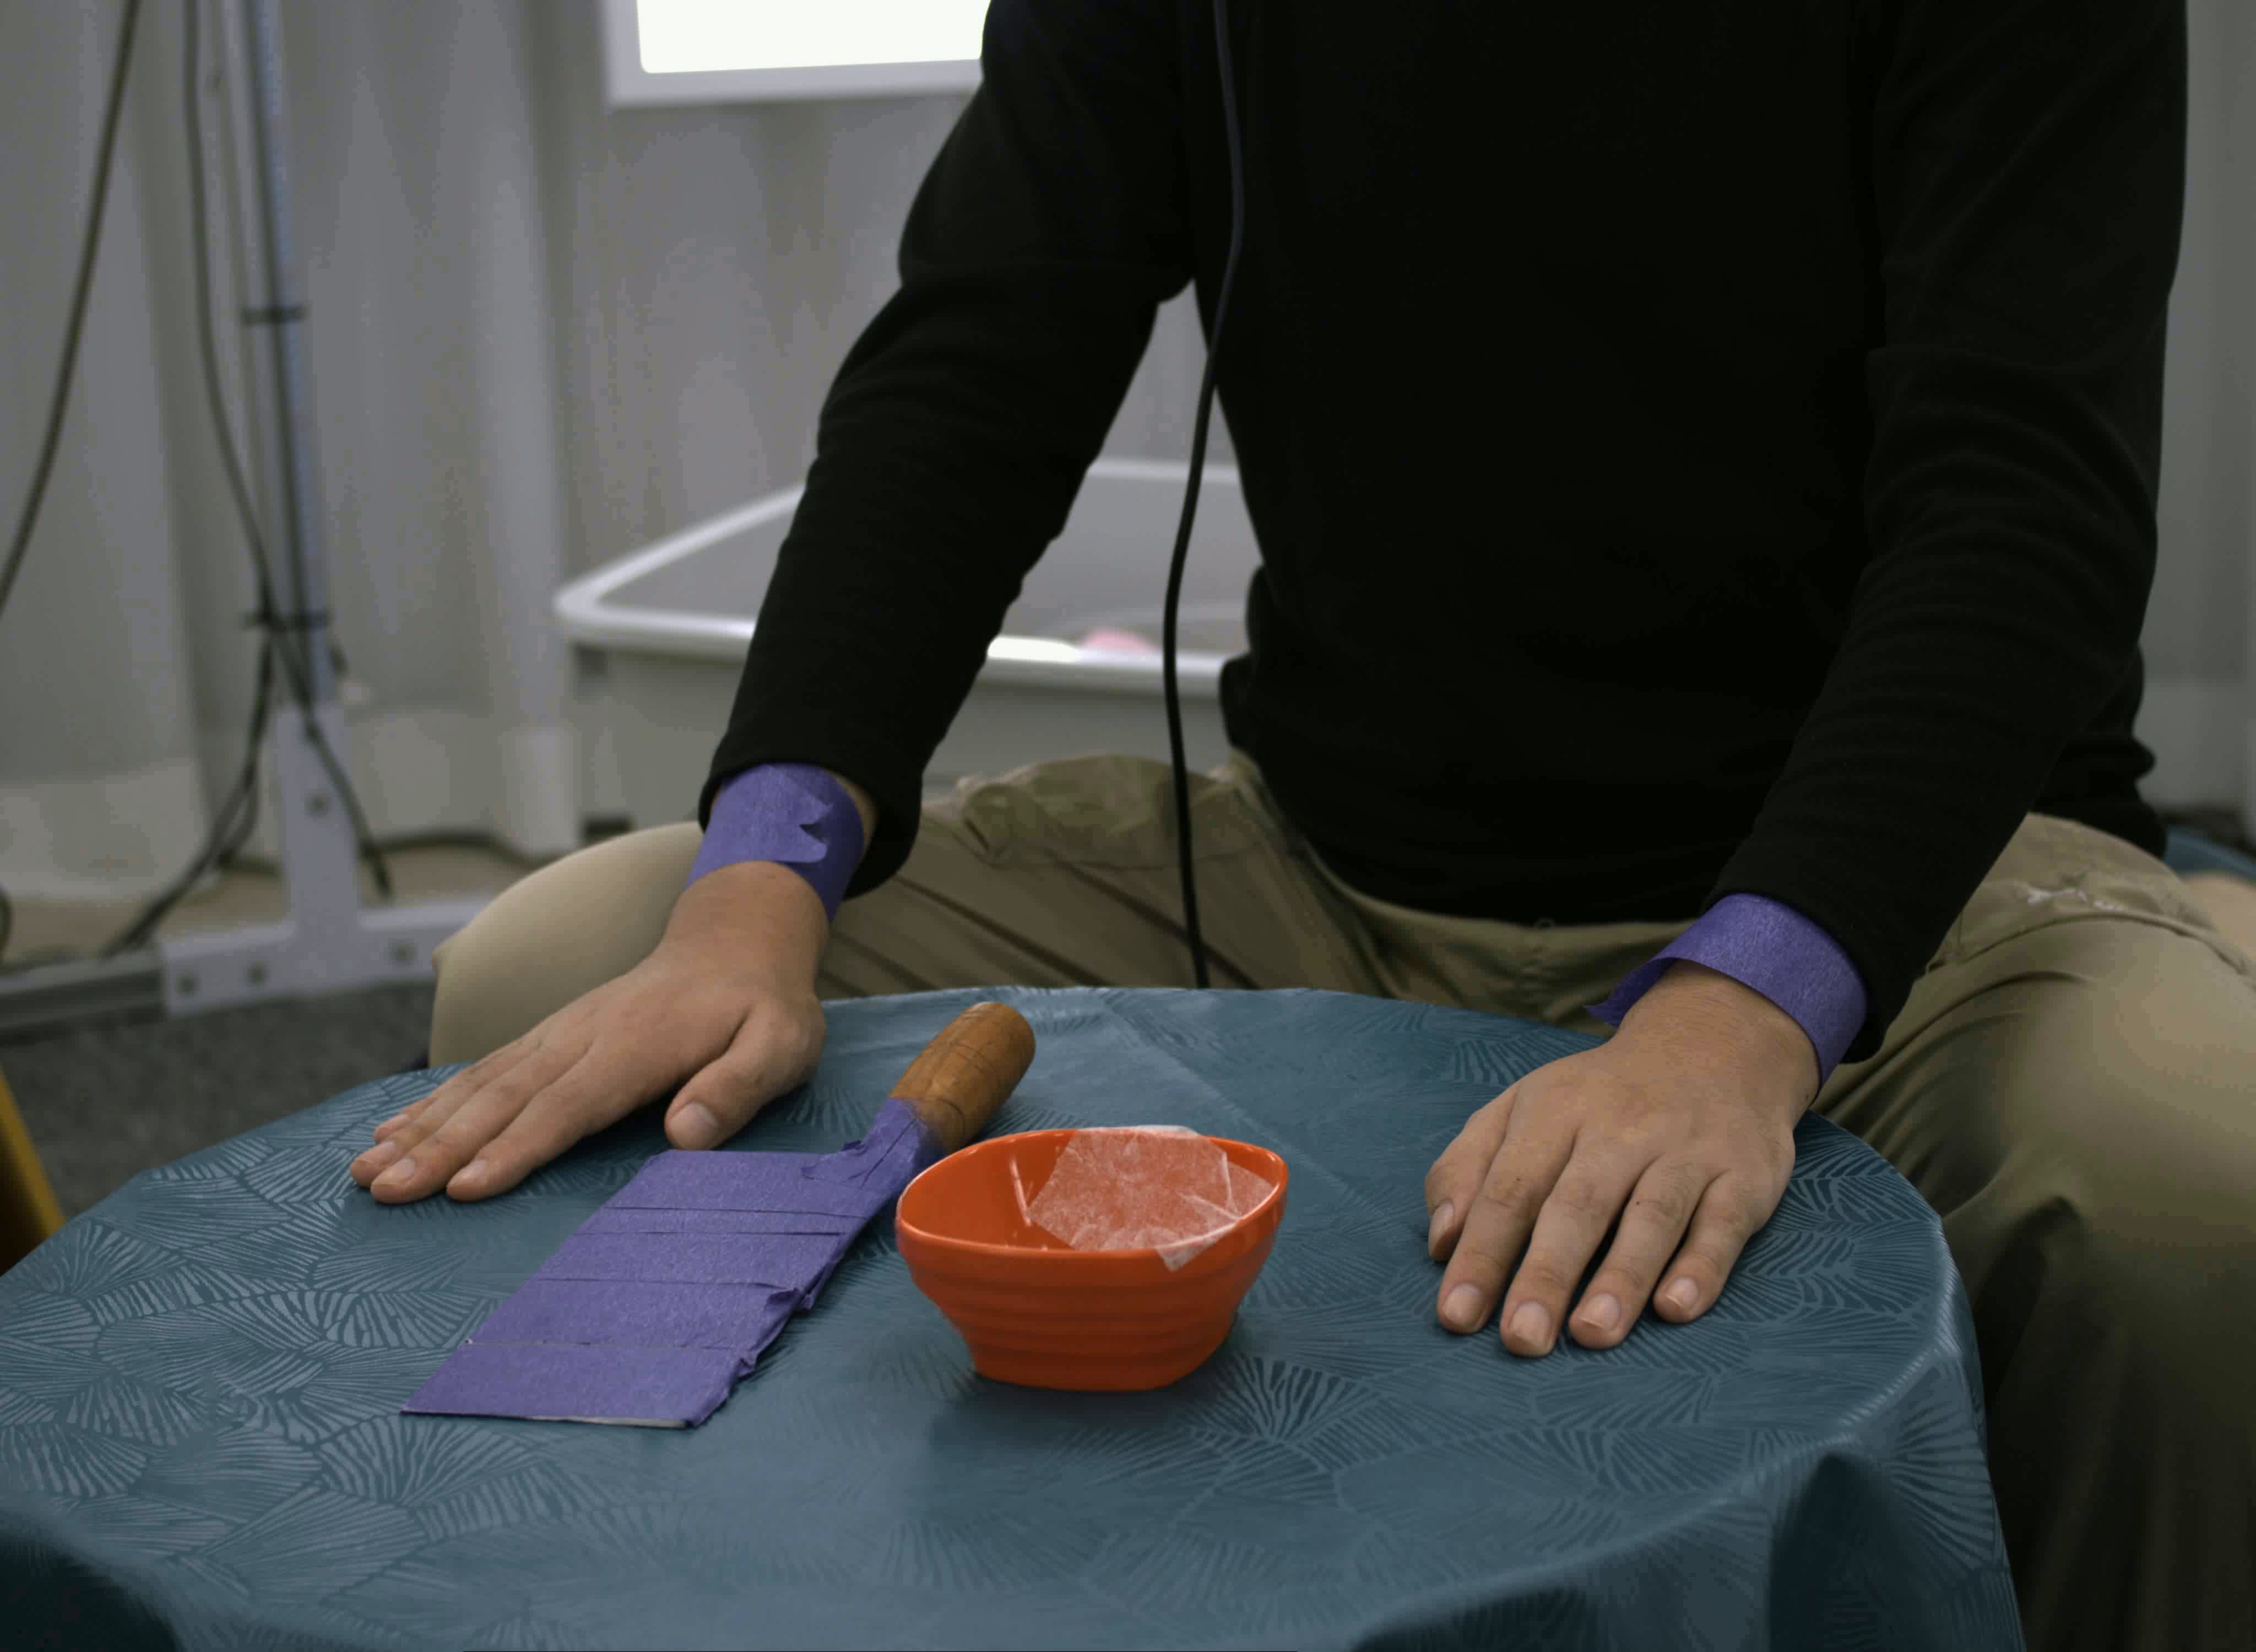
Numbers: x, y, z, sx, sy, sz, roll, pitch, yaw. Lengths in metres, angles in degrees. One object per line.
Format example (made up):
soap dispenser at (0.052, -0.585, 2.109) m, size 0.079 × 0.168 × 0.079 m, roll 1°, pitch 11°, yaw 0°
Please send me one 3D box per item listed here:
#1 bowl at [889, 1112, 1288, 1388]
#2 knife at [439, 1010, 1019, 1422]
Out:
bowl at (-0.009, 0.124, 1.569) m, size 0.118 × 0.051 × 0.120 m, roll -5°, pitch 17°, yaw 1°
knife at (-0.120, 0.117, 1.680) m, size 0.104 × 0.032 × 0.316 m, roll 2°, pitch 16°, yaw 16°
